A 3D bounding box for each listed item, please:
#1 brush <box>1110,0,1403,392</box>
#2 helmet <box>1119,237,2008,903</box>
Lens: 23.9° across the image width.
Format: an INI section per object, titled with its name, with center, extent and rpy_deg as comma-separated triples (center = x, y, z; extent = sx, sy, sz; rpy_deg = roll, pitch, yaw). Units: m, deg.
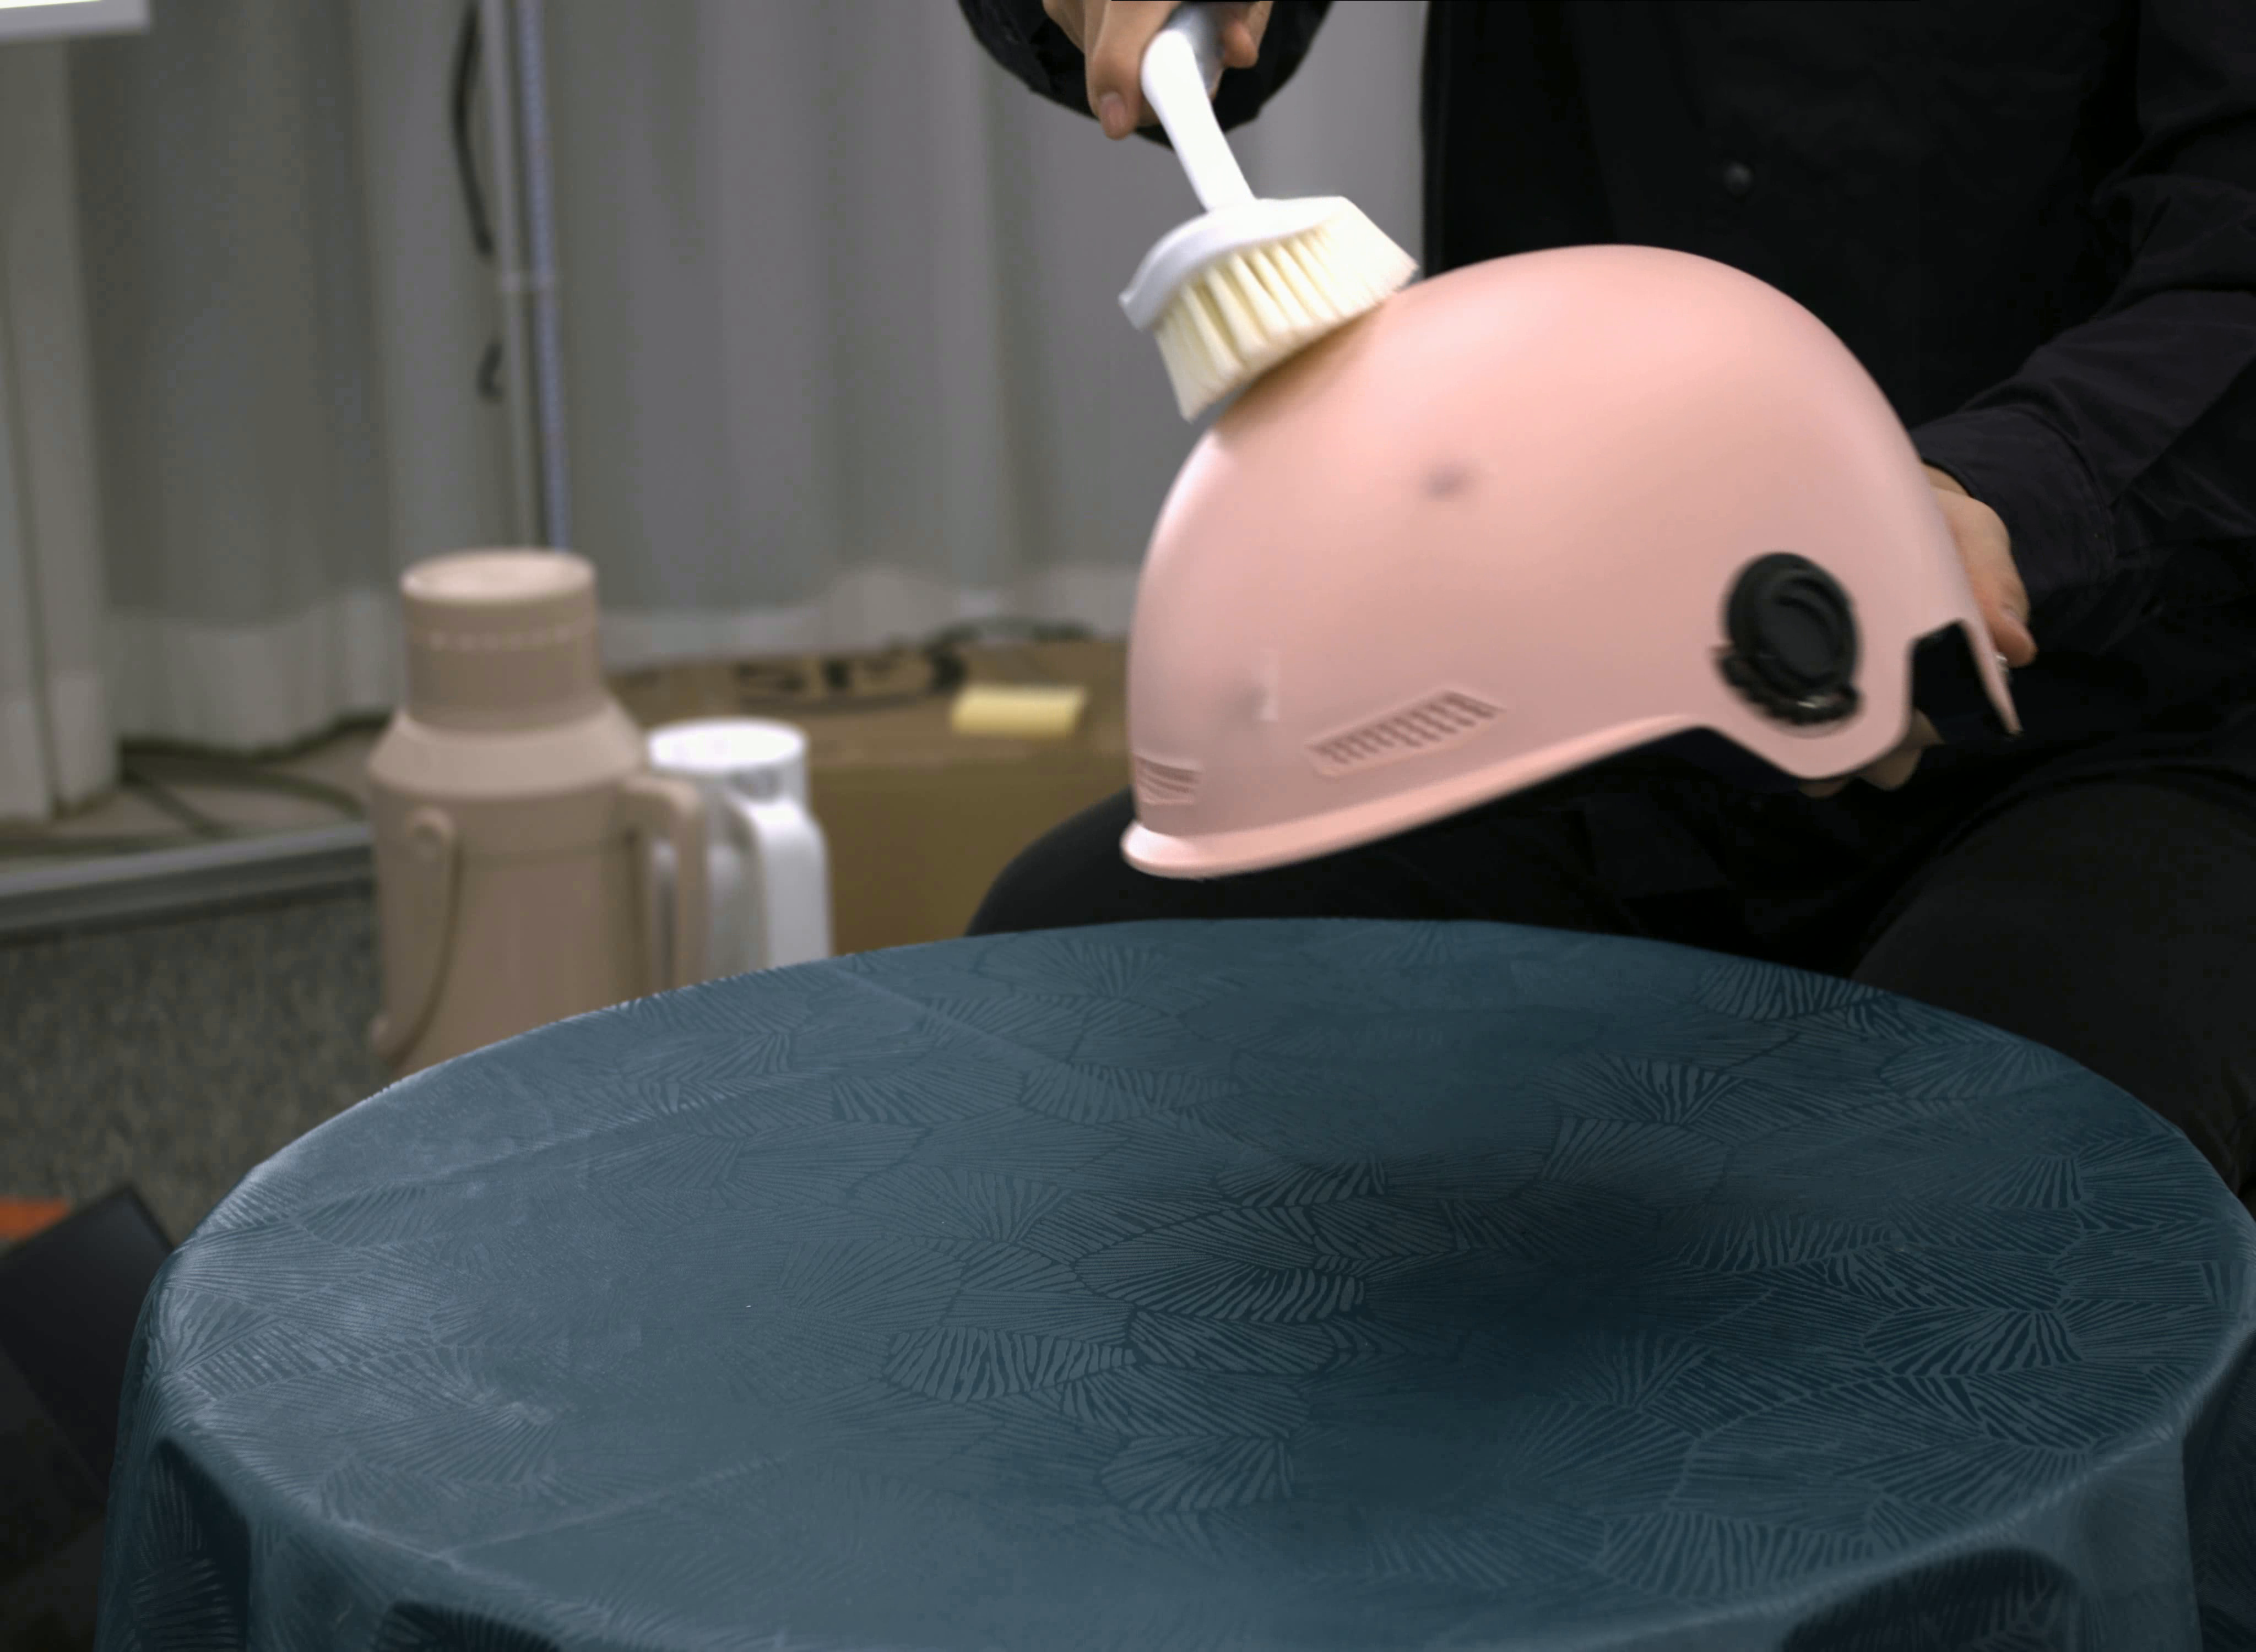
[brush]
center = 0.038, -0.188, 1.554
extent = 0.082, 0.084, 0.327
rpy_deg = 5, 21, -1
[helmet]
center = 0.104, -0.075, 1.455
extent = 0.238, 0.159, 0.260
rpy_deg = -10, 5, 45
